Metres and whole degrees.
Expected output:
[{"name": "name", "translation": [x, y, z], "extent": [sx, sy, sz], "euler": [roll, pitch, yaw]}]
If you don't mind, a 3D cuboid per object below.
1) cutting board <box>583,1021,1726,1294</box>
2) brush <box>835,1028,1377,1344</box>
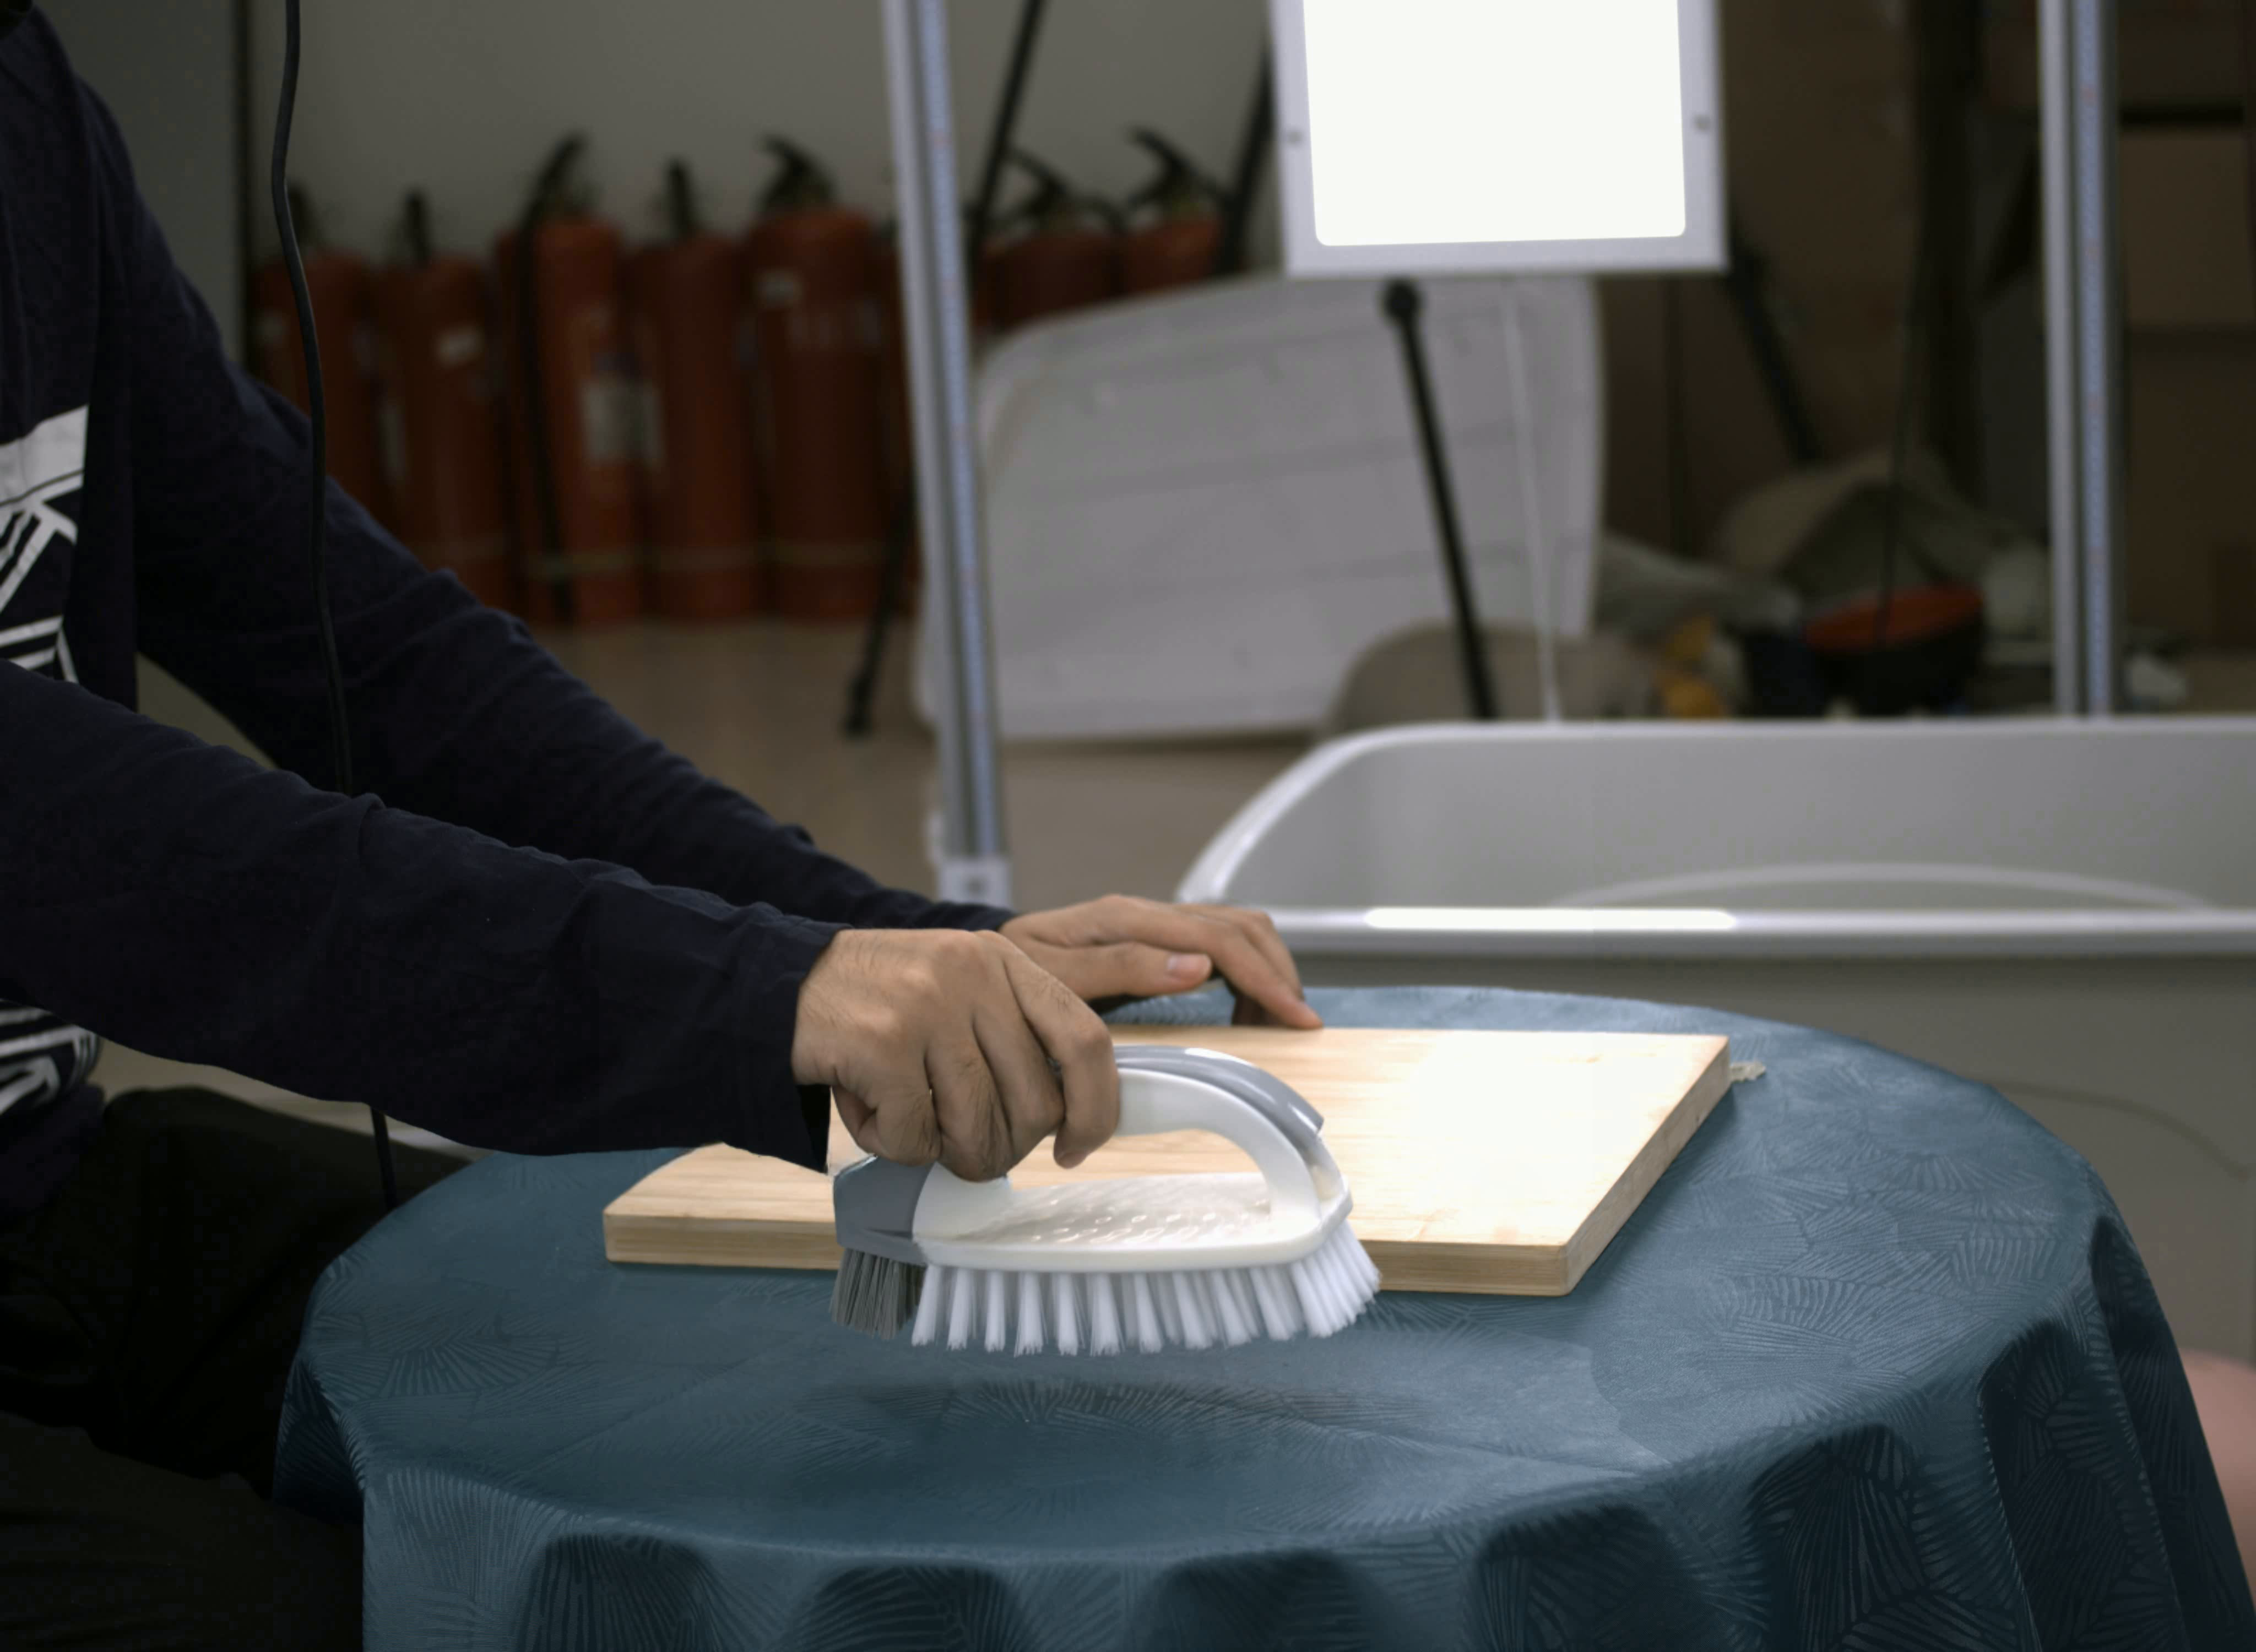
[{"name": "cutting board", "translation": [0.014, 0.112, 1.920], "extent": [0.353, 0.023, 0.246], "euler": [0, 14, 21]}, {"name": "brush", "translation": [-0.017, 0.110, 1.678], "extent": [0.178, 0.094, 0.060], "euler": [-6, 16, 25]}]
